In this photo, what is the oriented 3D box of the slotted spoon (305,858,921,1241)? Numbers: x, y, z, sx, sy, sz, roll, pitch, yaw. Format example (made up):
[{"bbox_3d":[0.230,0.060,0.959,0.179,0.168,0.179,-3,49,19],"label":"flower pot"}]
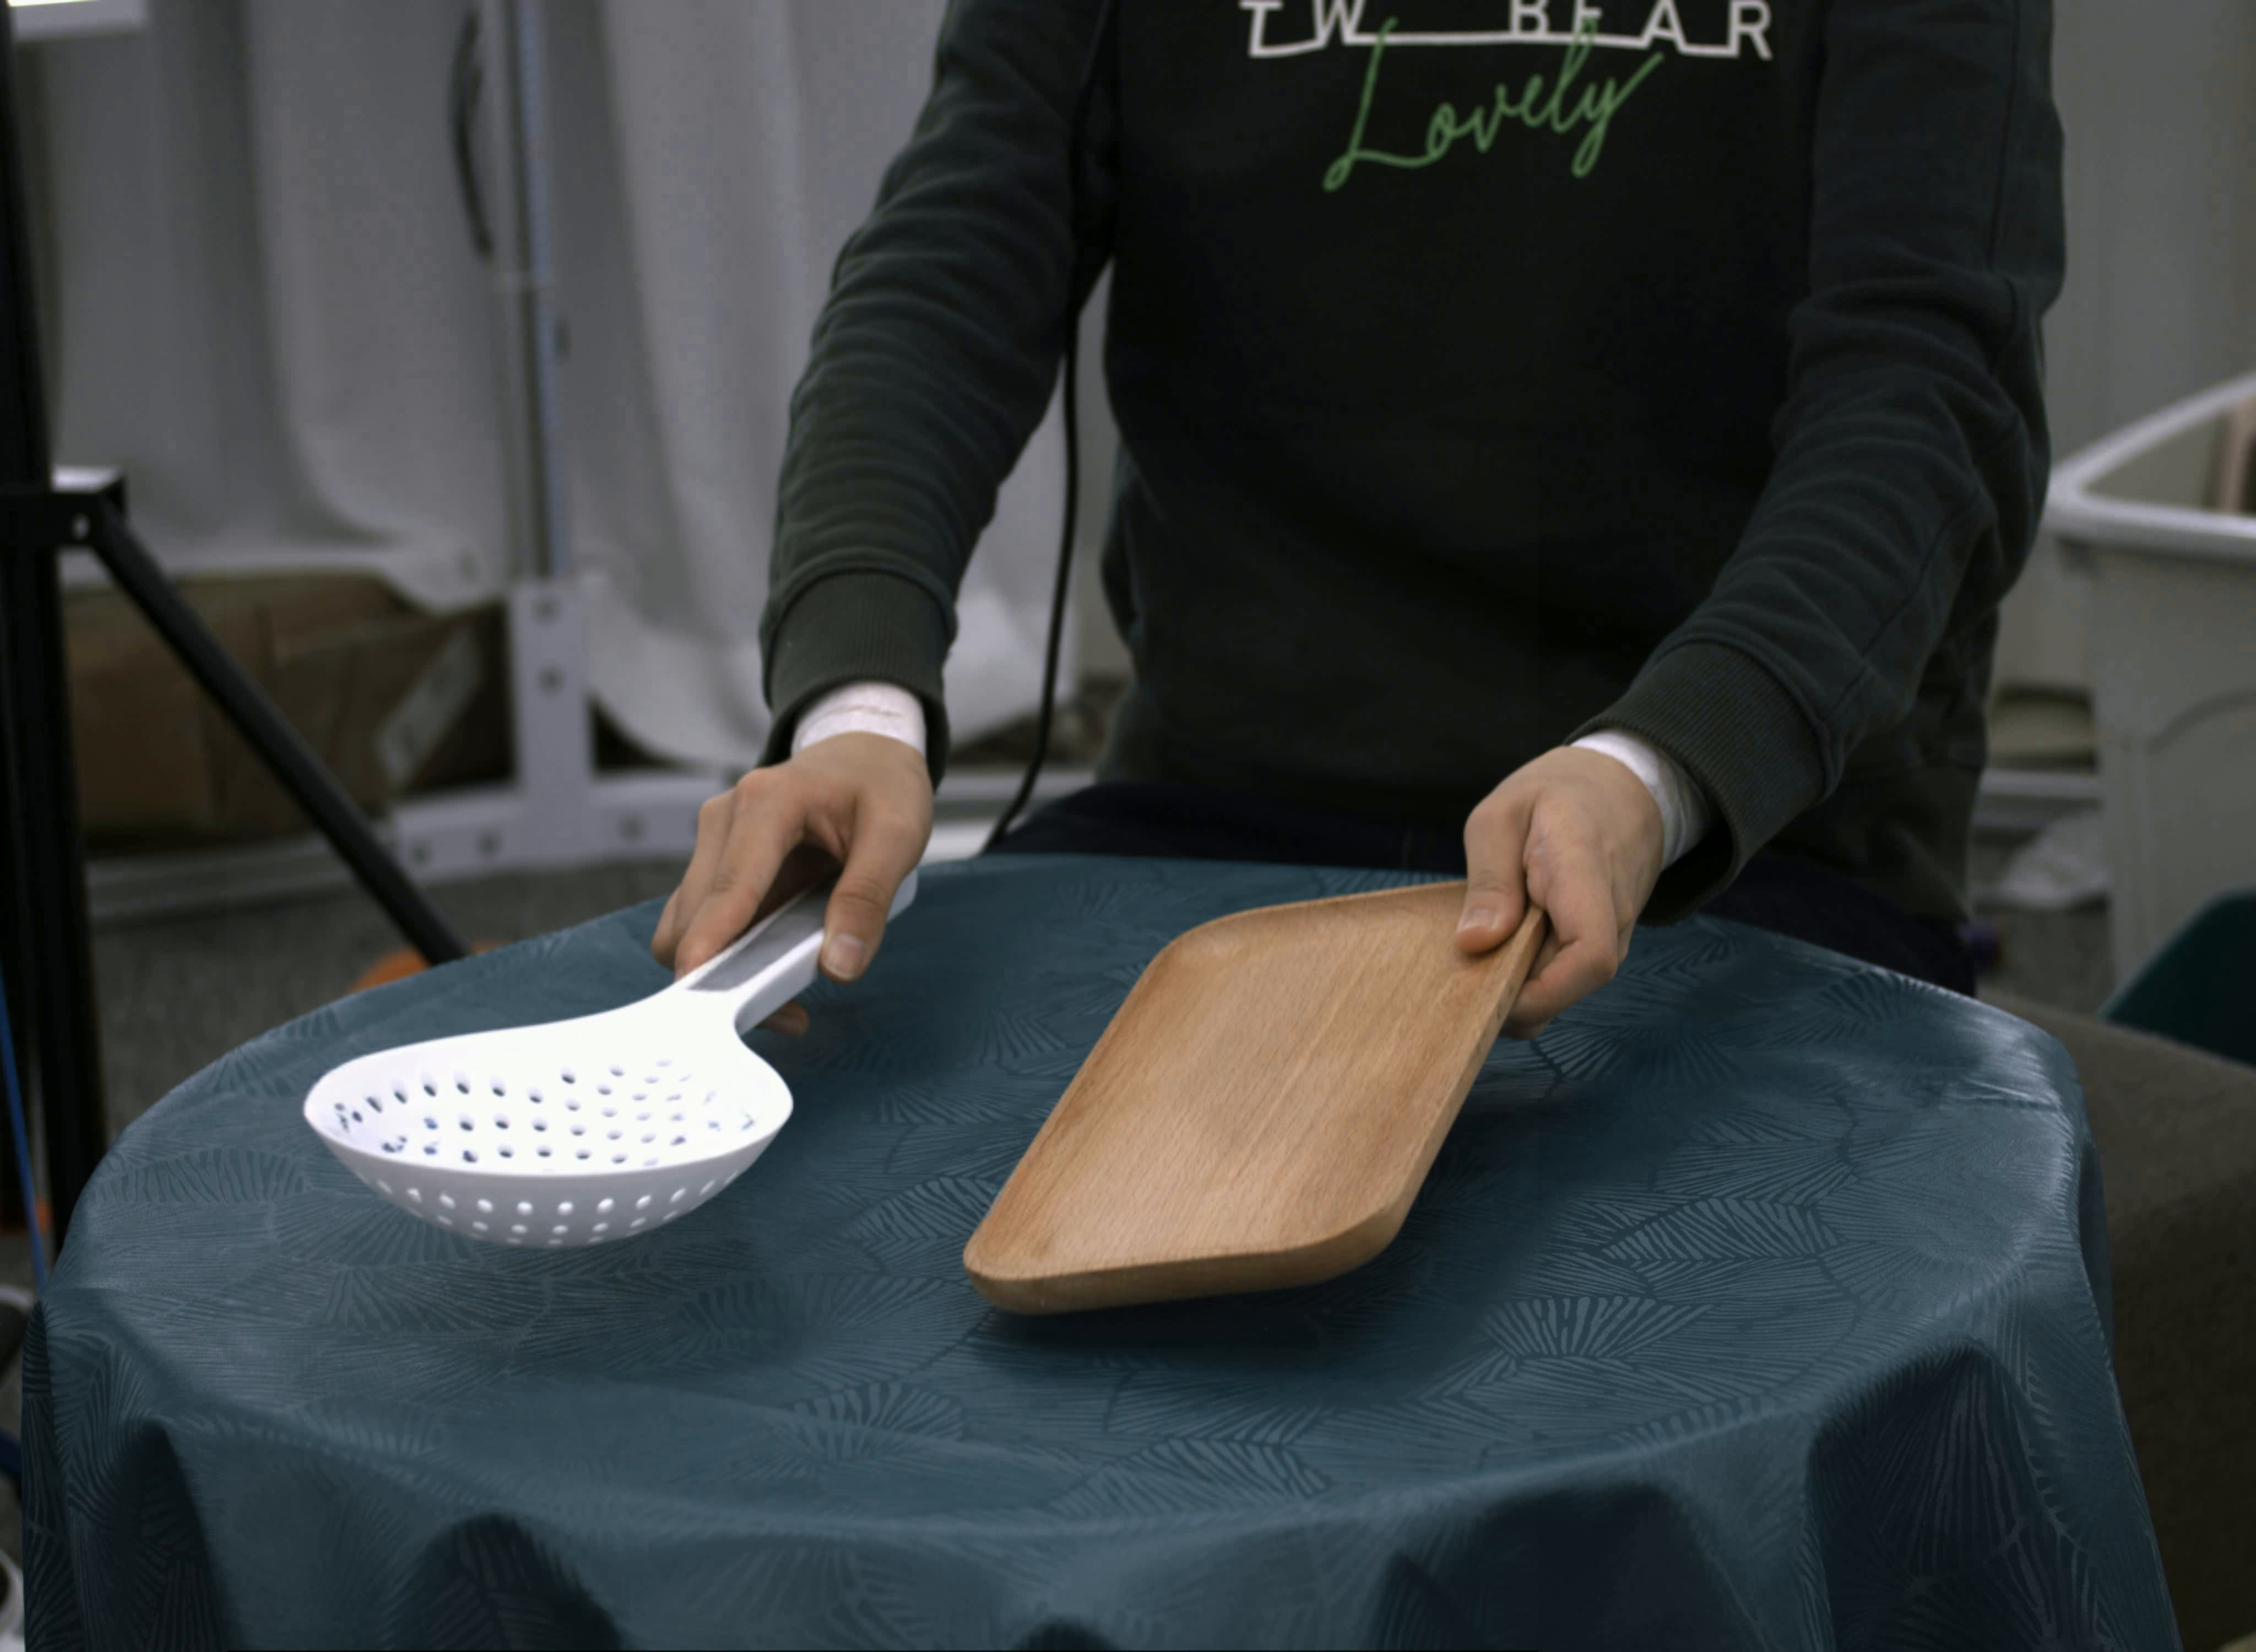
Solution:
[{"bbox_3d":[-0.131,0.057,1.590,0.137,0.046,0.346,6,20,16],"label":"slotted spoon"}]

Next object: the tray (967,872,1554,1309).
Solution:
[{"bbox_3d":[0.043,0.074,1.527,0.132,0.023,0.249,-7,20,20],"label":"tray"}]
